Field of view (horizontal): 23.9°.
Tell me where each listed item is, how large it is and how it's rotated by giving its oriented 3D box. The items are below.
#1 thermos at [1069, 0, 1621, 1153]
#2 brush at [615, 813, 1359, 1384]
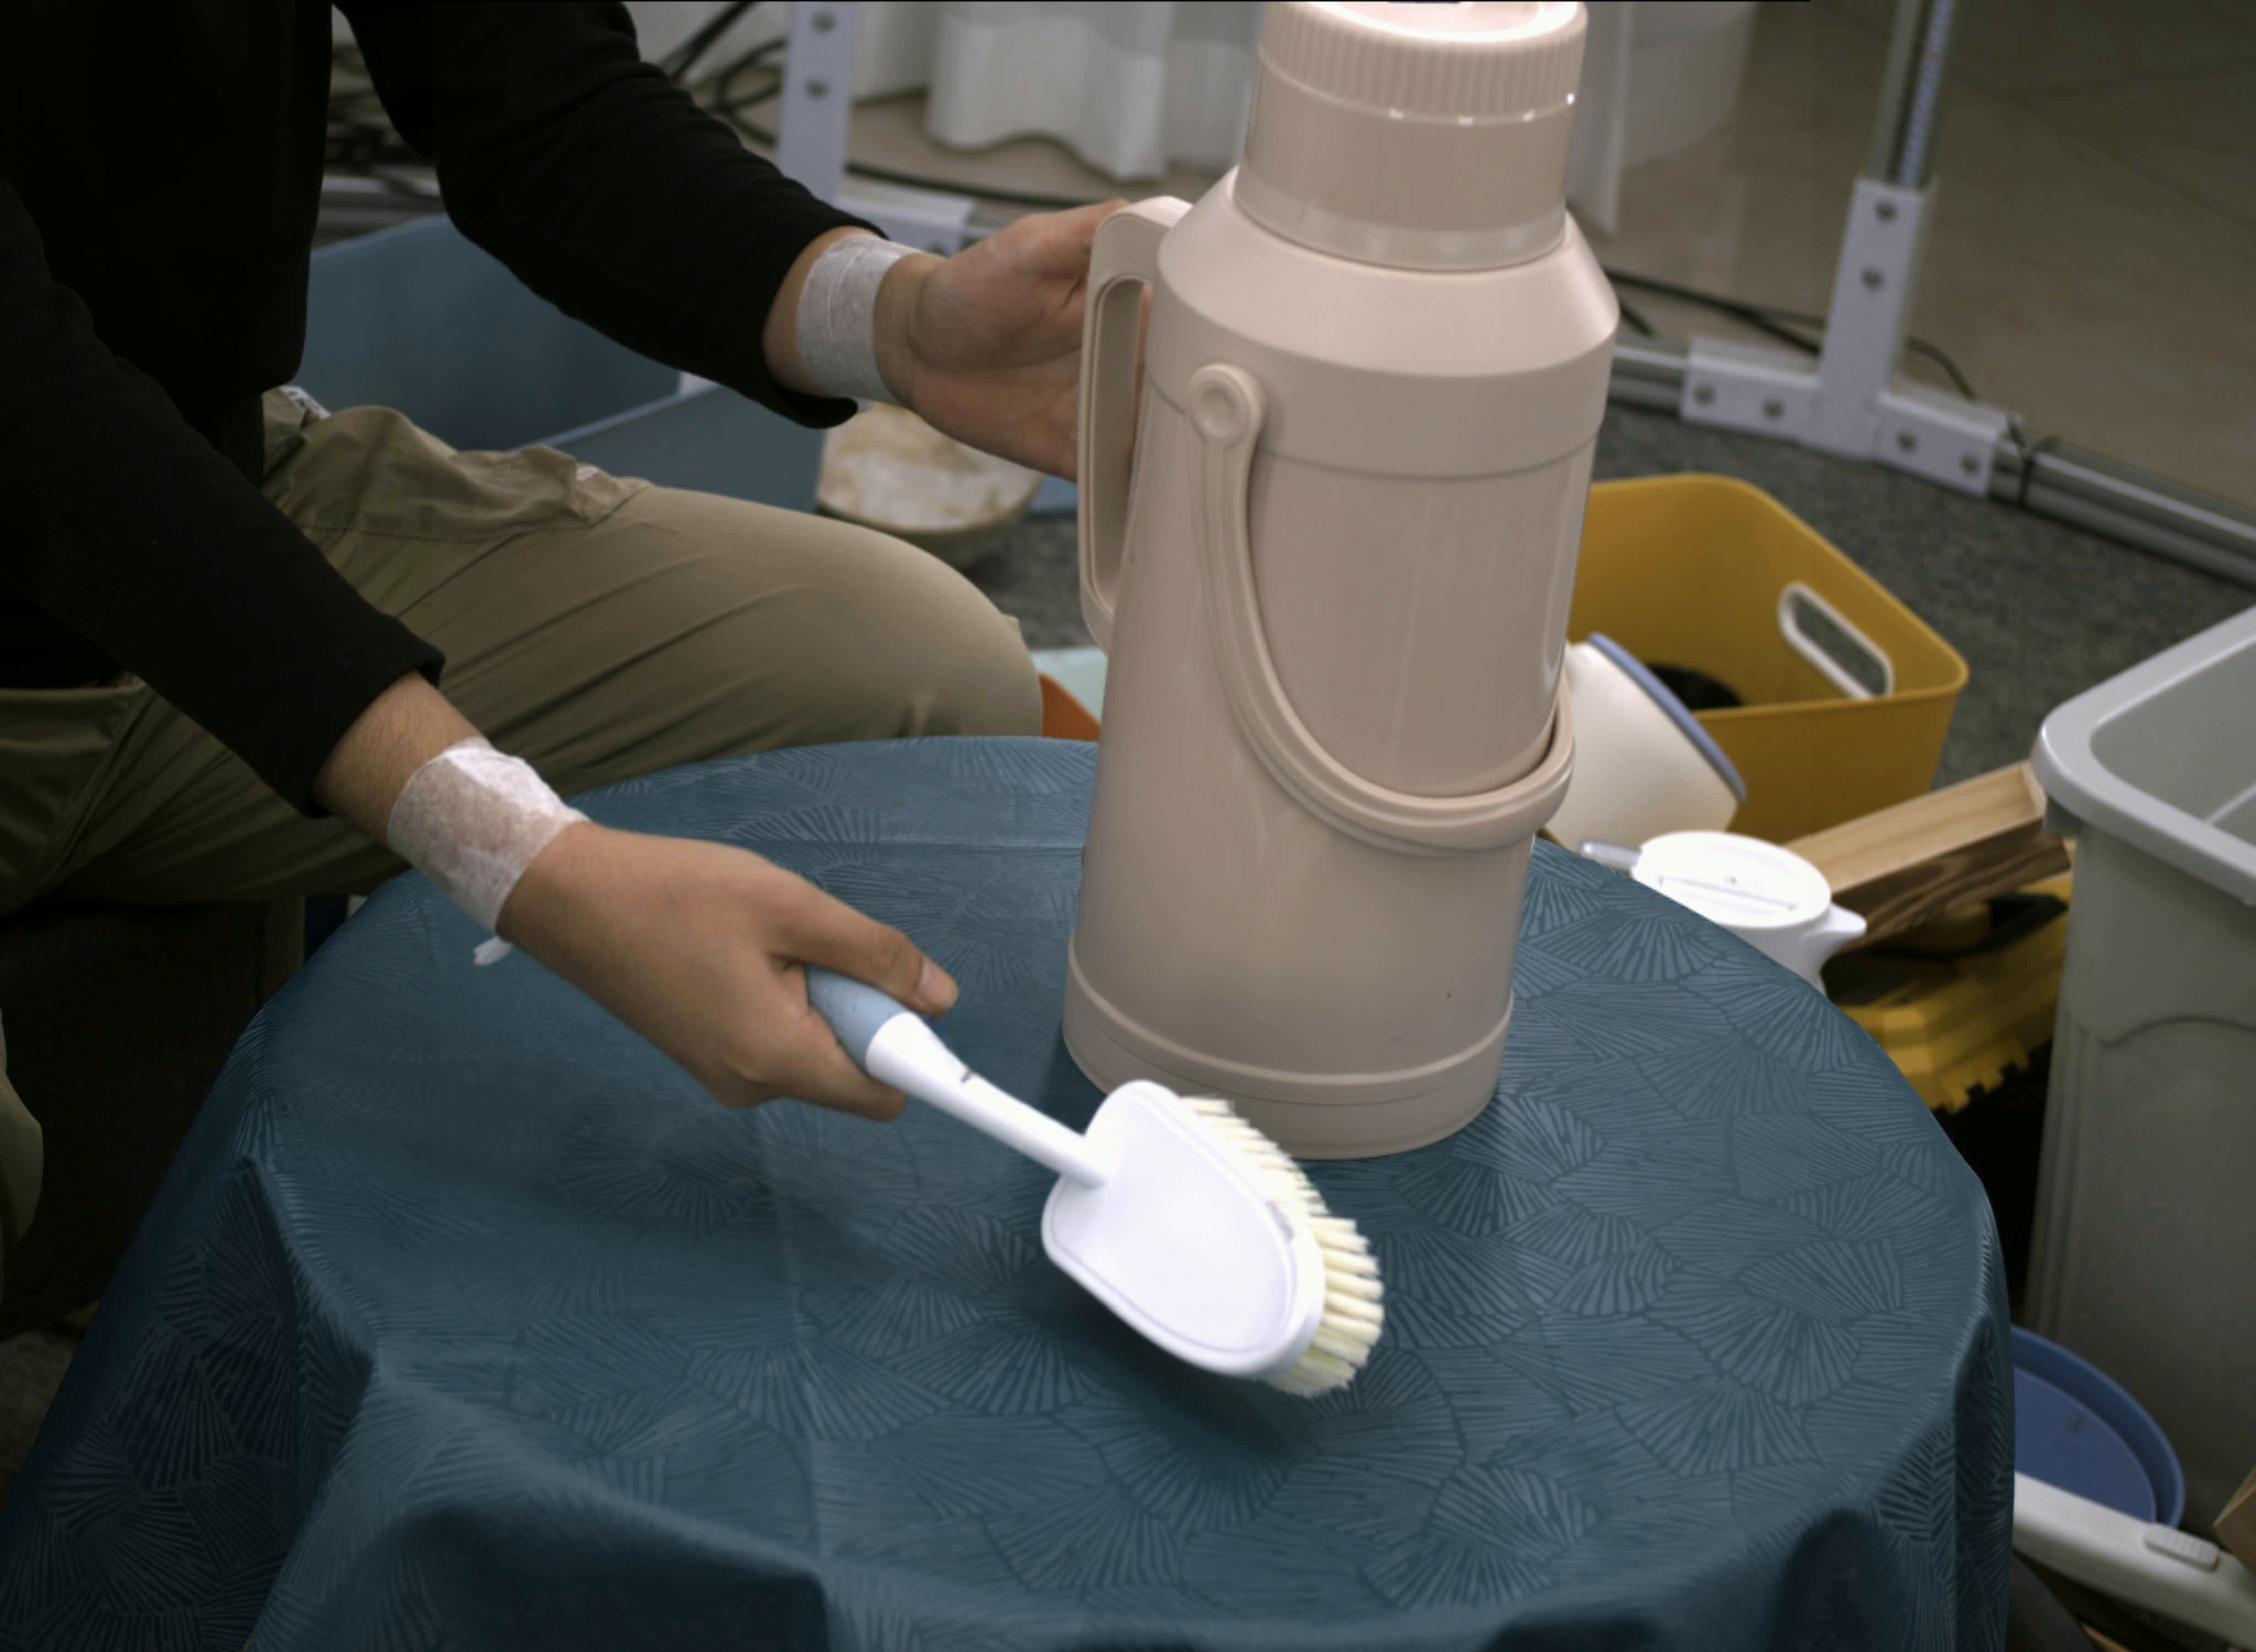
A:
[{"bbox_3d":[0.067,-0.103,1.825,0.208,0.405,0.174,25,33,32],"label":"thermos"},{"bbox_3d":[-0.041,0.082,1.747,0.083,0.084,0.328,-39,53,-24],"label":"brush"}]
